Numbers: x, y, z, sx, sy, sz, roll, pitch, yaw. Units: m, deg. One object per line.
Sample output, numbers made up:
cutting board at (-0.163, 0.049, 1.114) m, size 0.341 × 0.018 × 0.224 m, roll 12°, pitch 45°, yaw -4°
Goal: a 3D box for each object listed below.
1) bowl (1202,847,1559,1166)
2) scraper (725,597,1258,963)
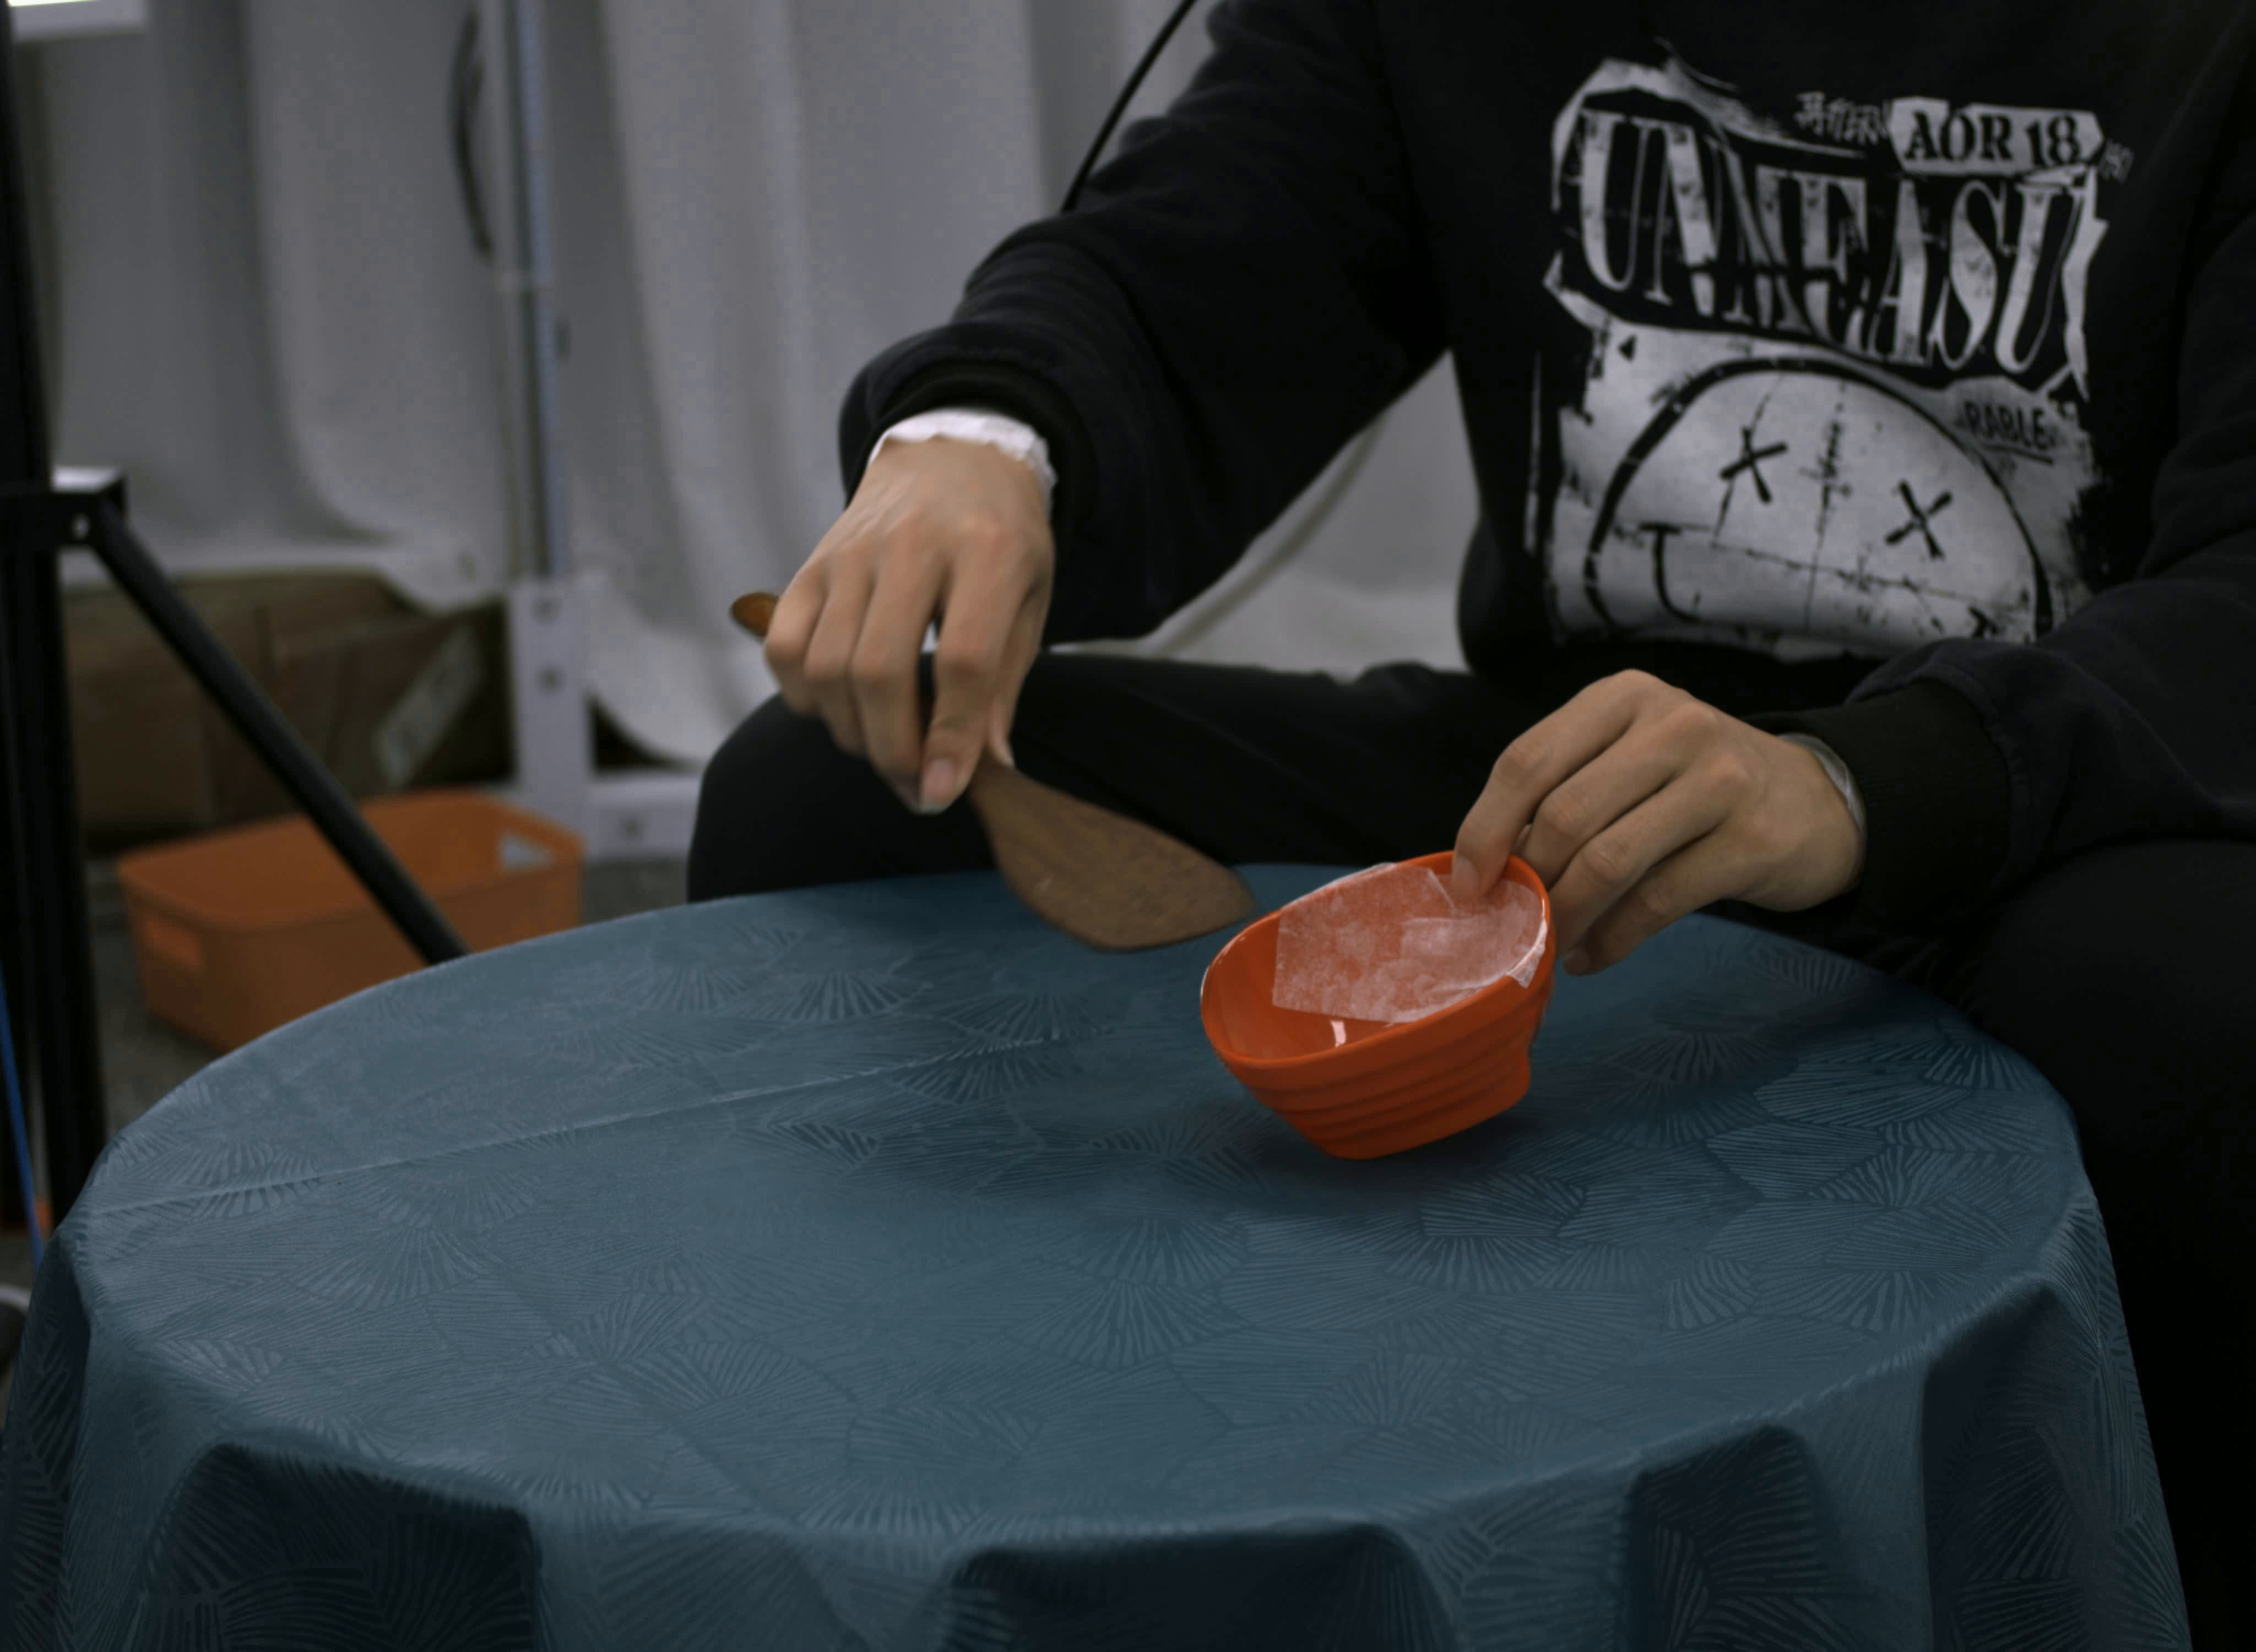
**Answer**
bowl at (0.082, 0.059, 1.587) m, size 0.119 × 0.051 × 0.120 m, roll -21°, pitch 24°, yaw 8°
scraper at (-0.051, -0.016, 1.632) m, size 0.074 × 0.011 × 0.216 m, roll -15°, pitch 41°, yaw -41°
